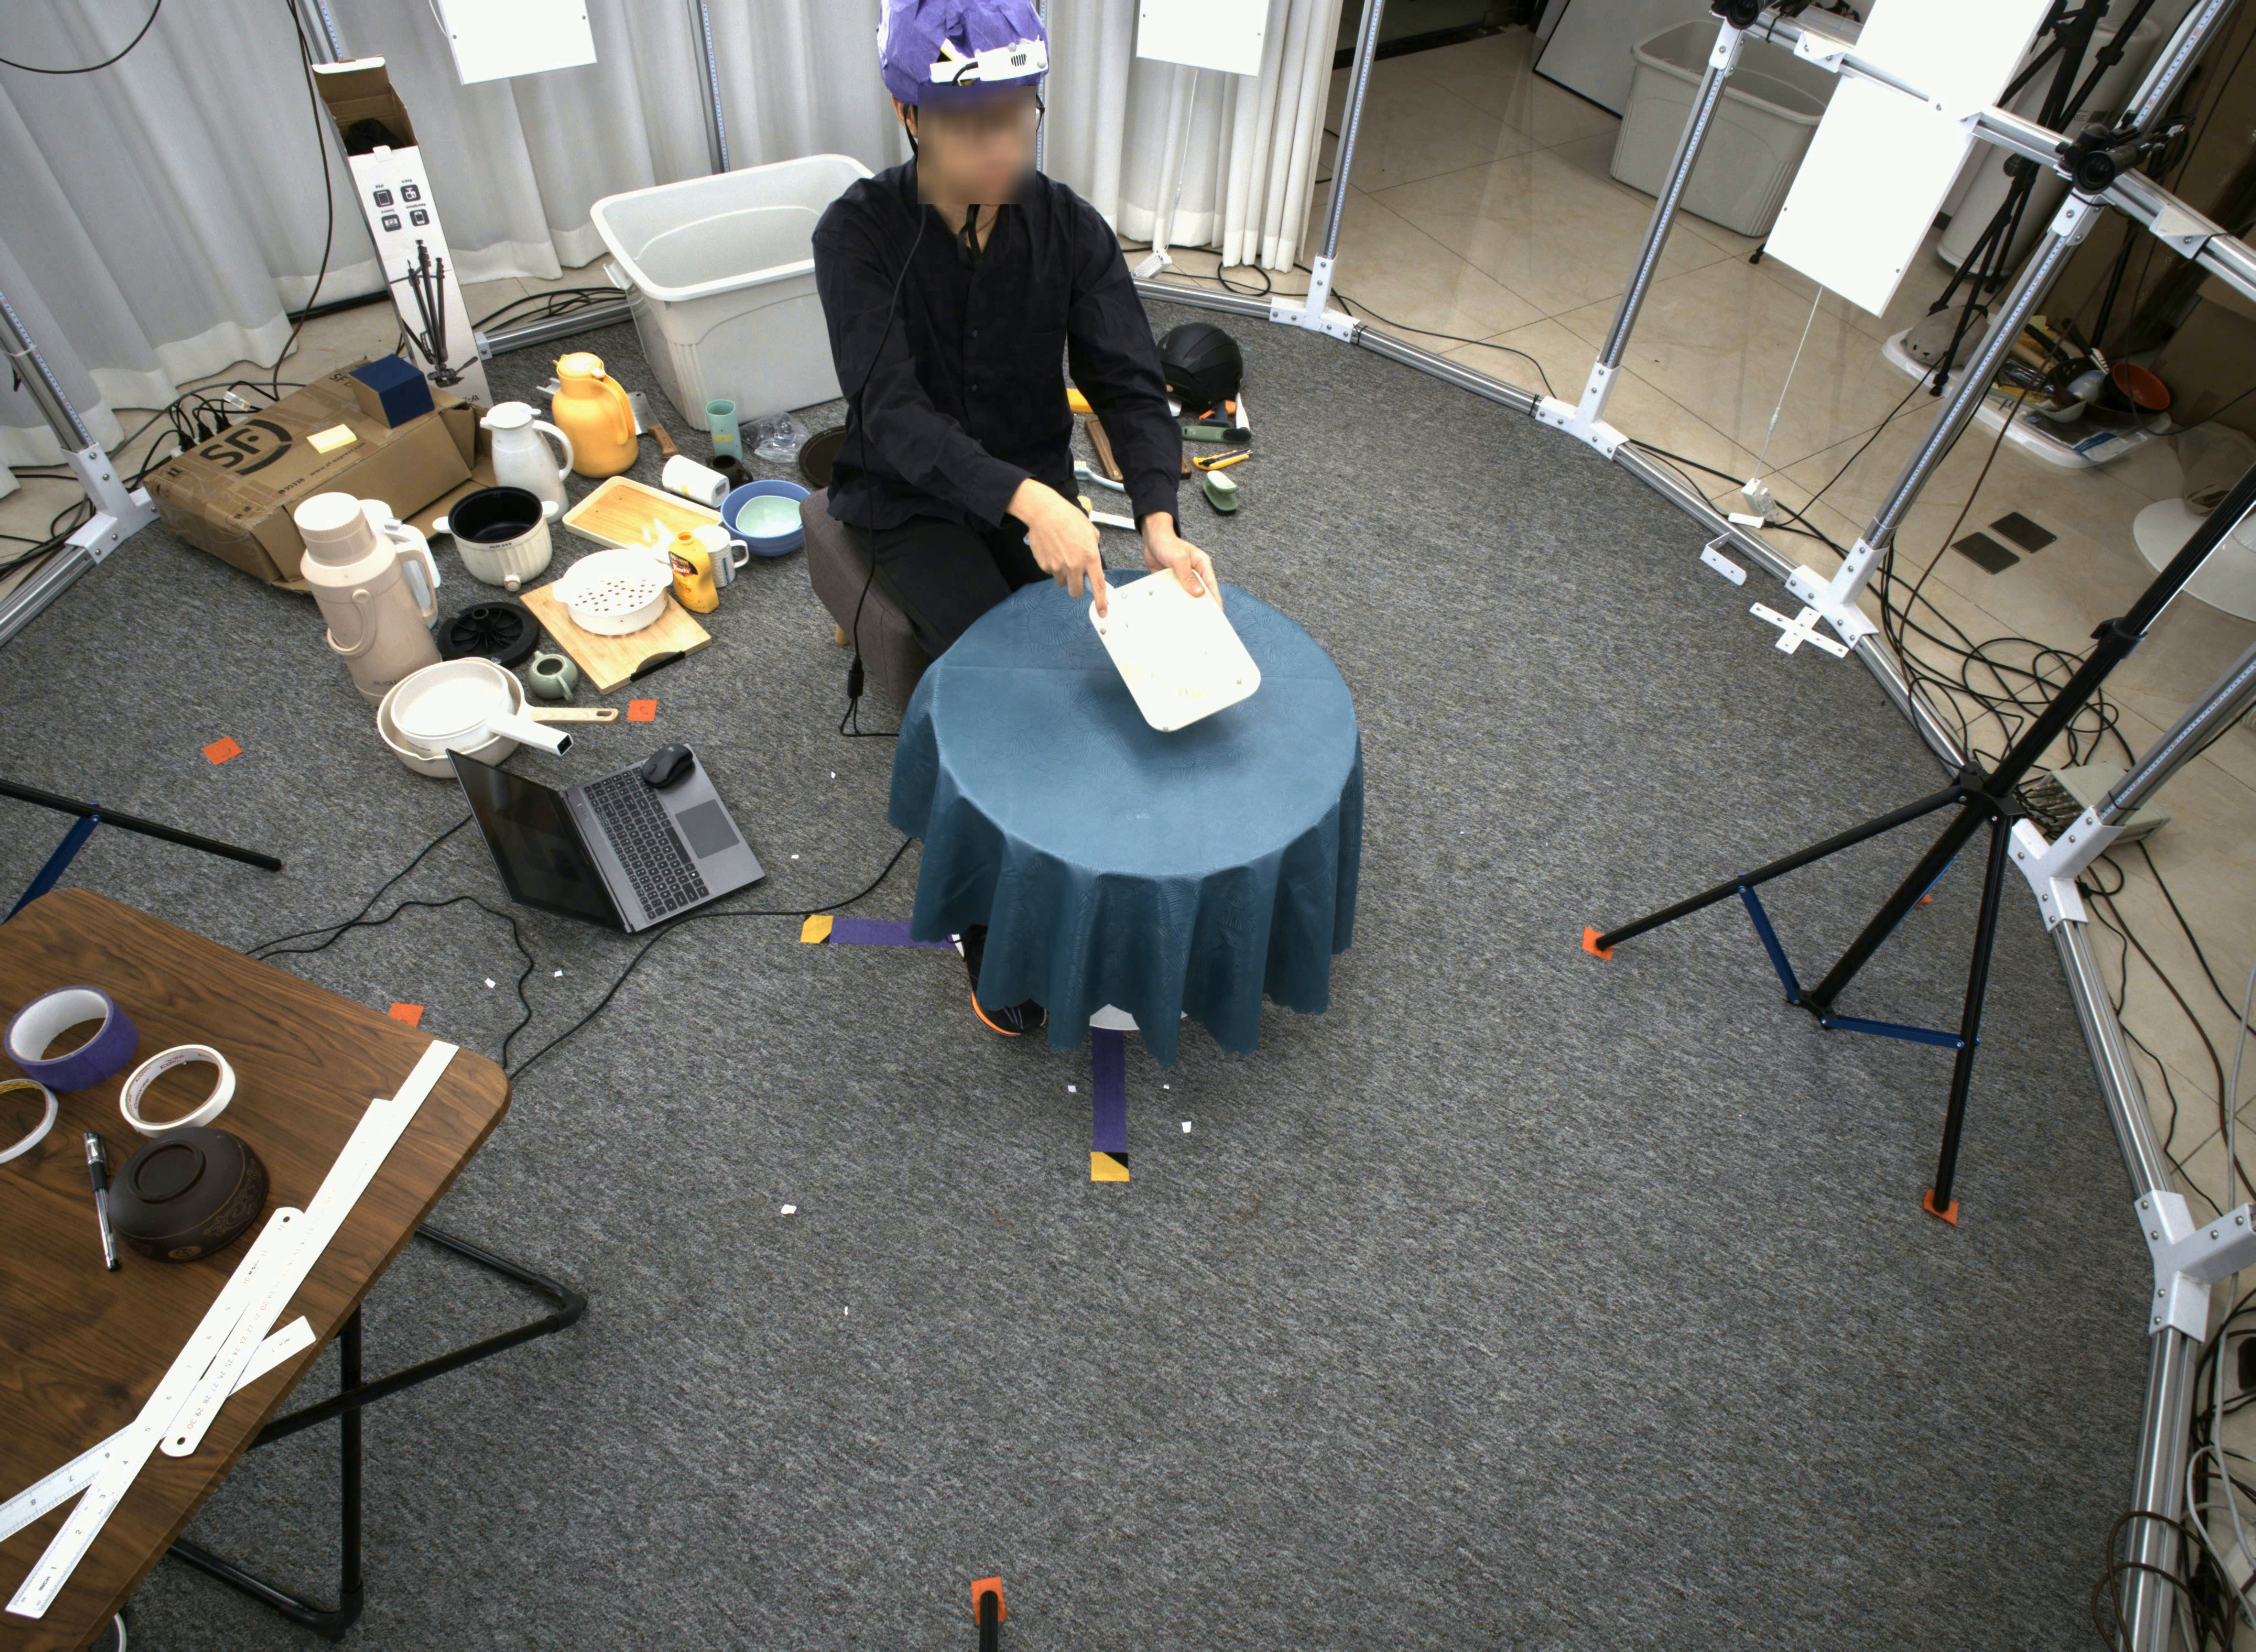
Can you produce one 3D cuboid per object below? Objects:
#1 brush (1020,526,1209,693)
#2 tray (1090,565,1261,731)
[{"bbox_3d":[-0.019,-0.293,1.762,0.327,0.083,0.084,39,33,7],"label":"brush"},{"bbox_3d":[0.064,-0.247,1.776,0.171,0.017,0.244,-23,65,-9],"label":"tray"}]
